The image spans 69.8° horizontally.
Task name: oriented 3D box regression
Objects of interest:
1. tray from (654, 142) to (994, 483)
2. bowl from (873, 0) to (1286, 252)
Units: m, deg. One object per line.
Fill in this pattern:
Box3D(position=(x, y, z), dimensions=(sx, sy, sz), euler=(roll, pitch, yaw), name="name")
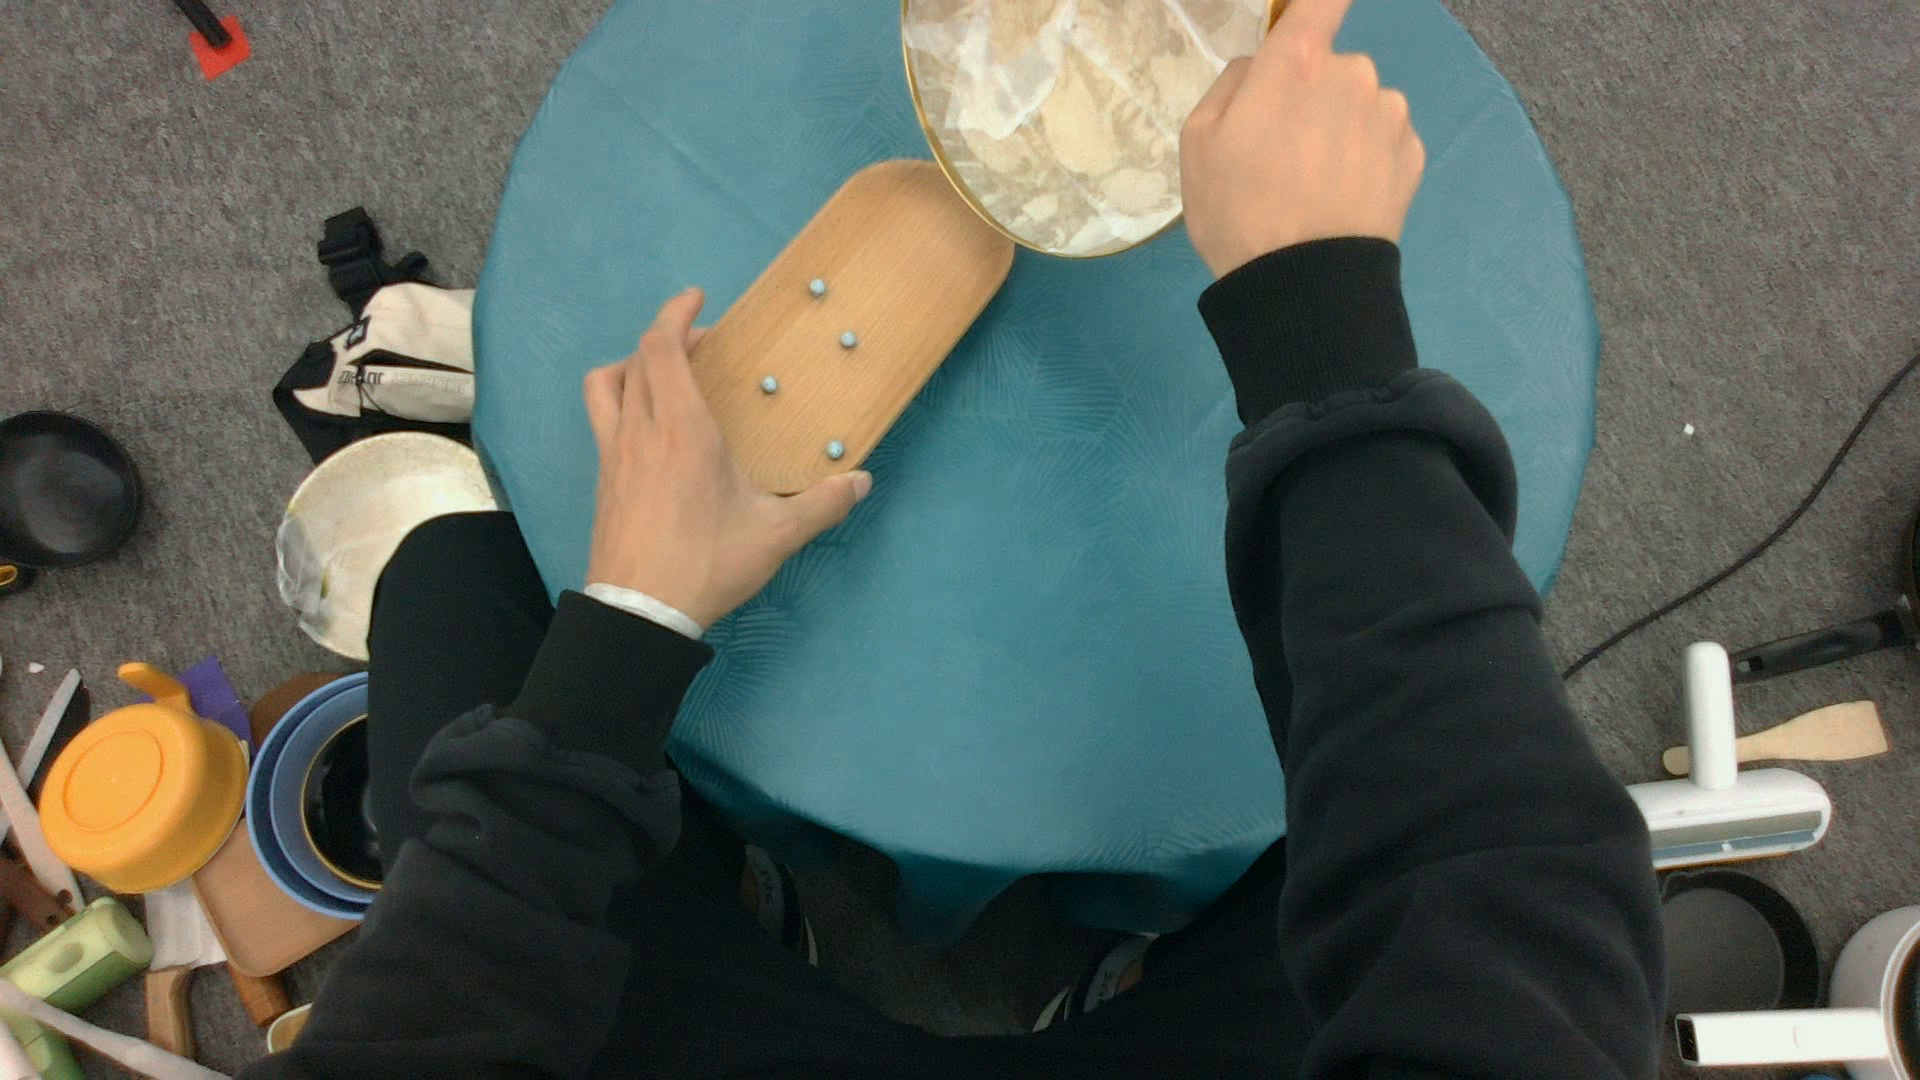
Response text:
Box3D(position=(-0.065, -0.120, 0.700), dimensions=(0.101, 0.020, 0.232), euler=(31, 60, 4), name="tray")
Box3D(position=(0.064, -0.239, 0.622), dimensions=(0.095, 0.213, 0.215), euler=(-25, 75, -44), name="bowl")
